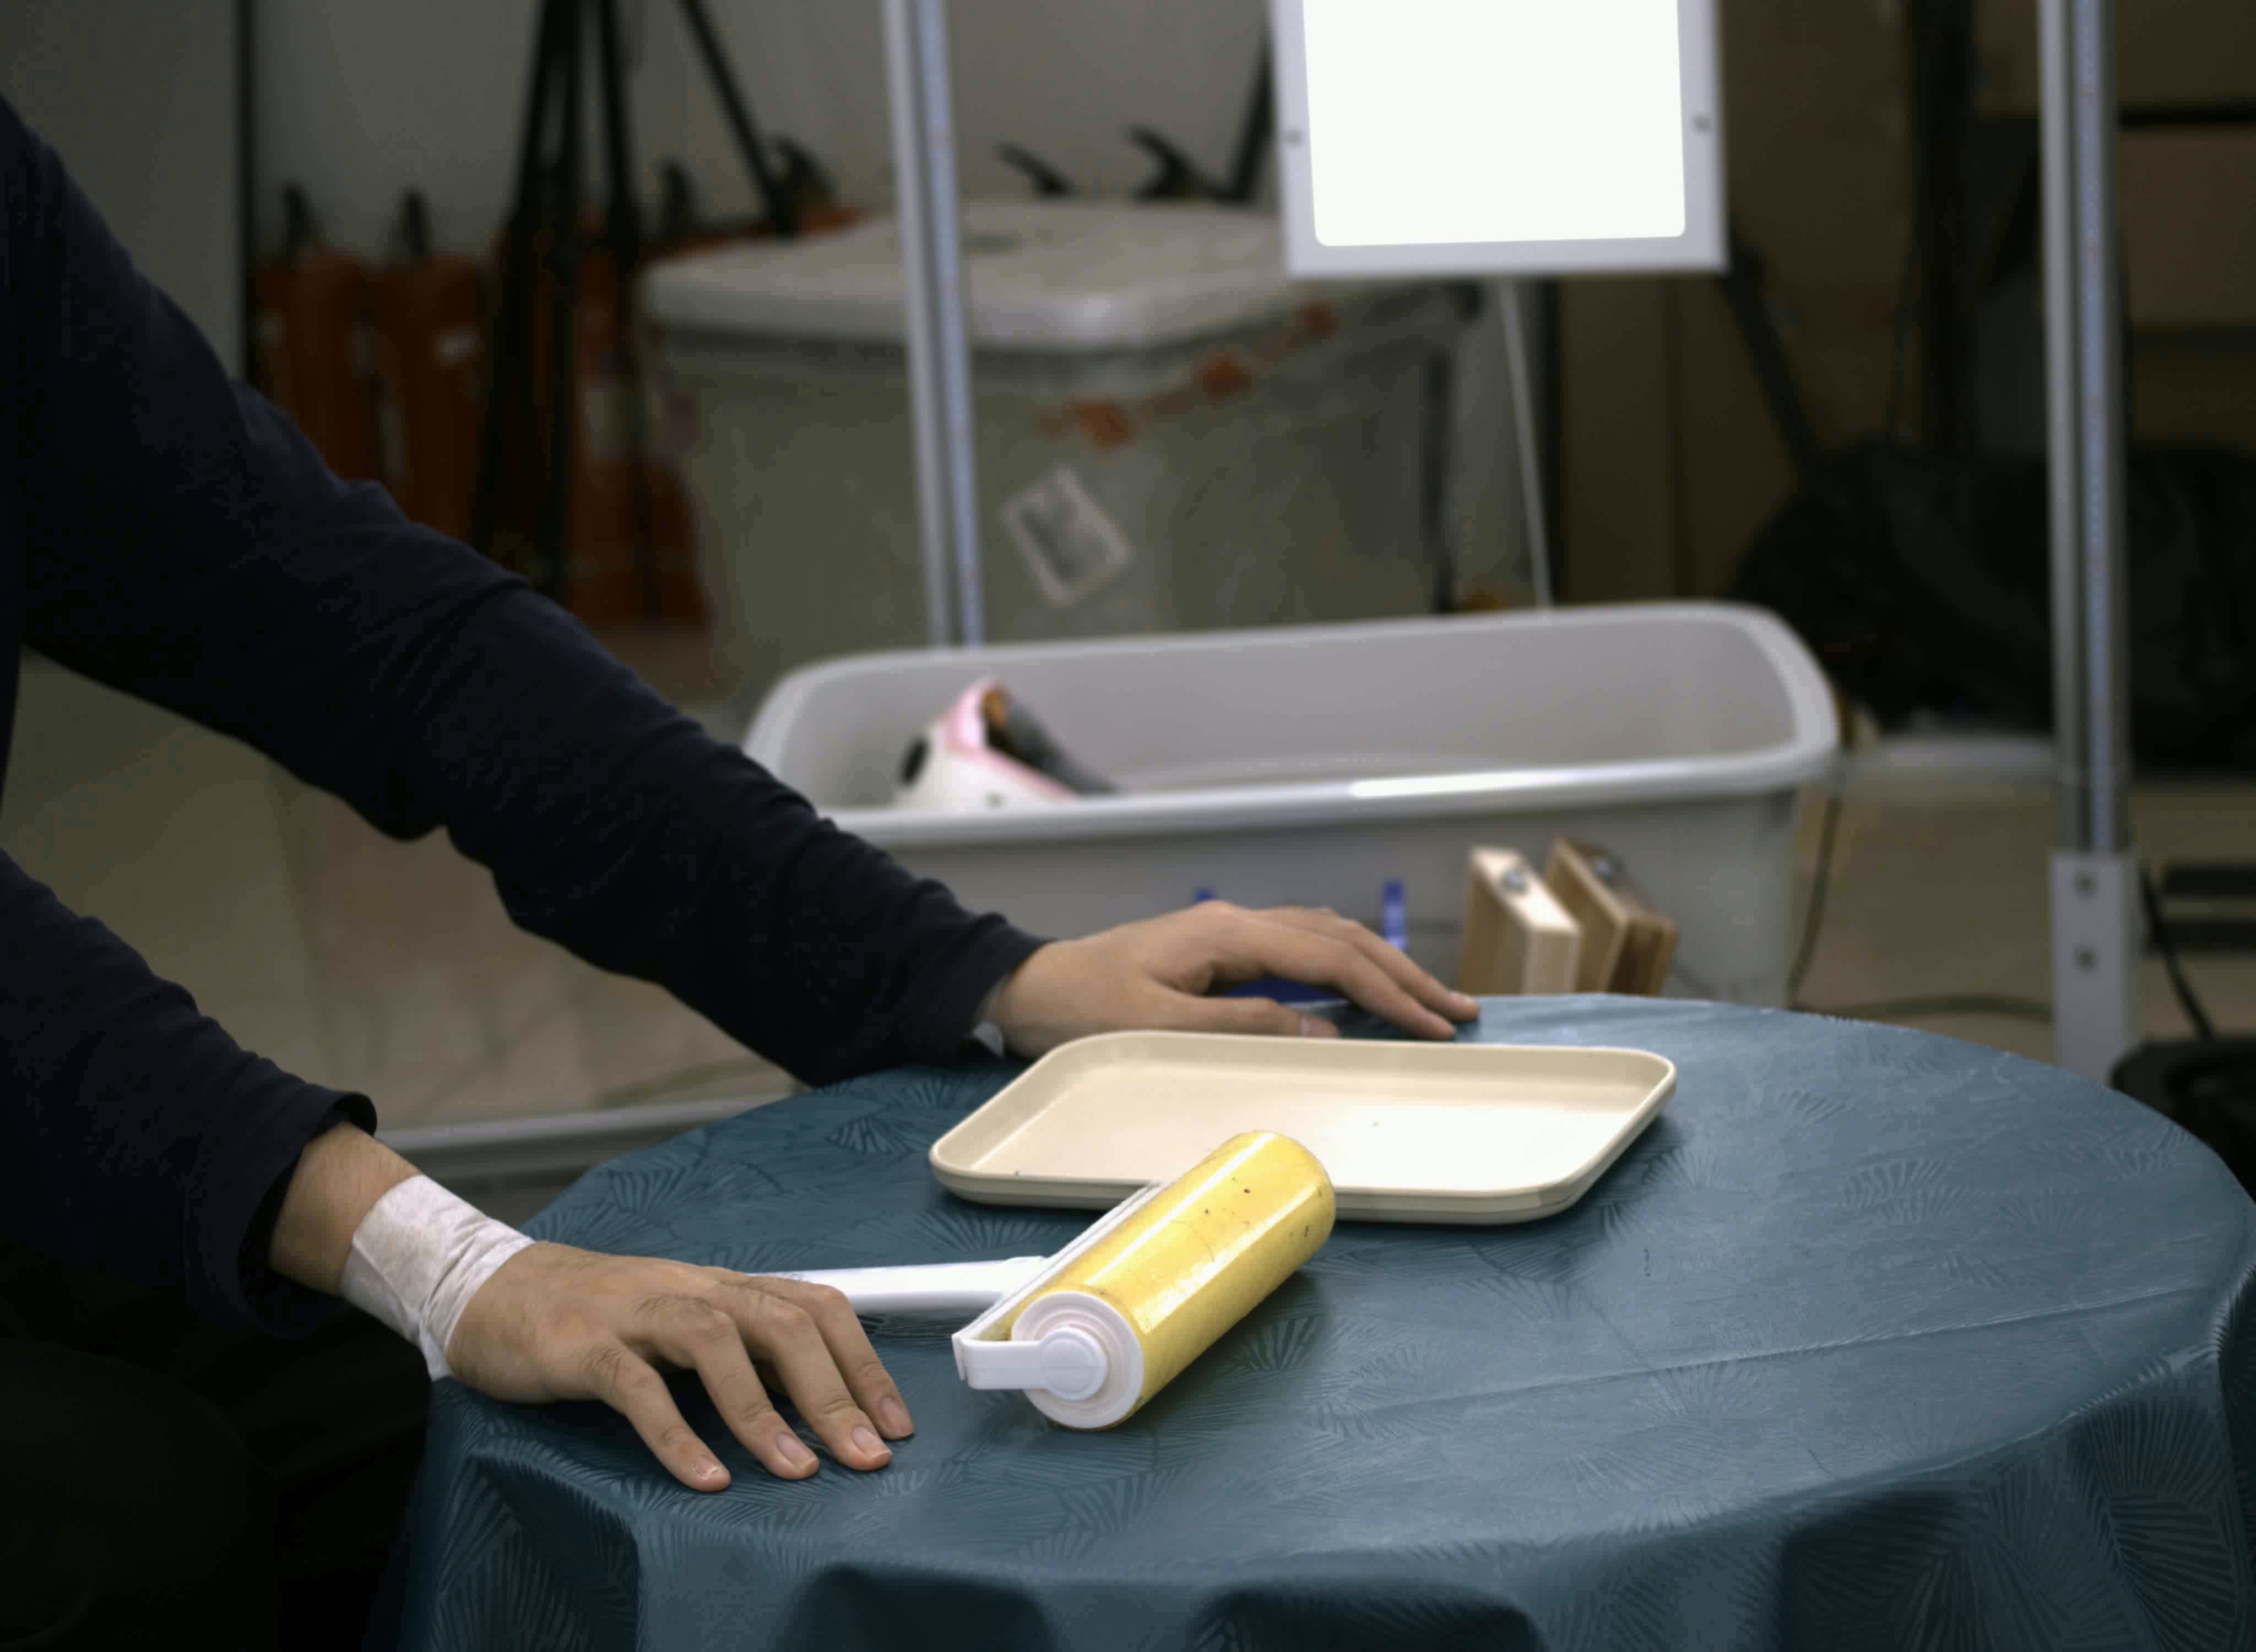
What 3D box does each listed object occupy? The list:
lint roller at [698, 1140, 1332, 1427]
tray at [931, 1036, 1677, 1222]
[{"bbox_3d":[-0.050,0.140,1.764,0.195,0.051,0.171,4,15,22],"label":"lint roller"},{"bbox_3d":[0.063,0.106,1.927,0.243,0.017,0.168,1,14,23],"label":"tray"}]
